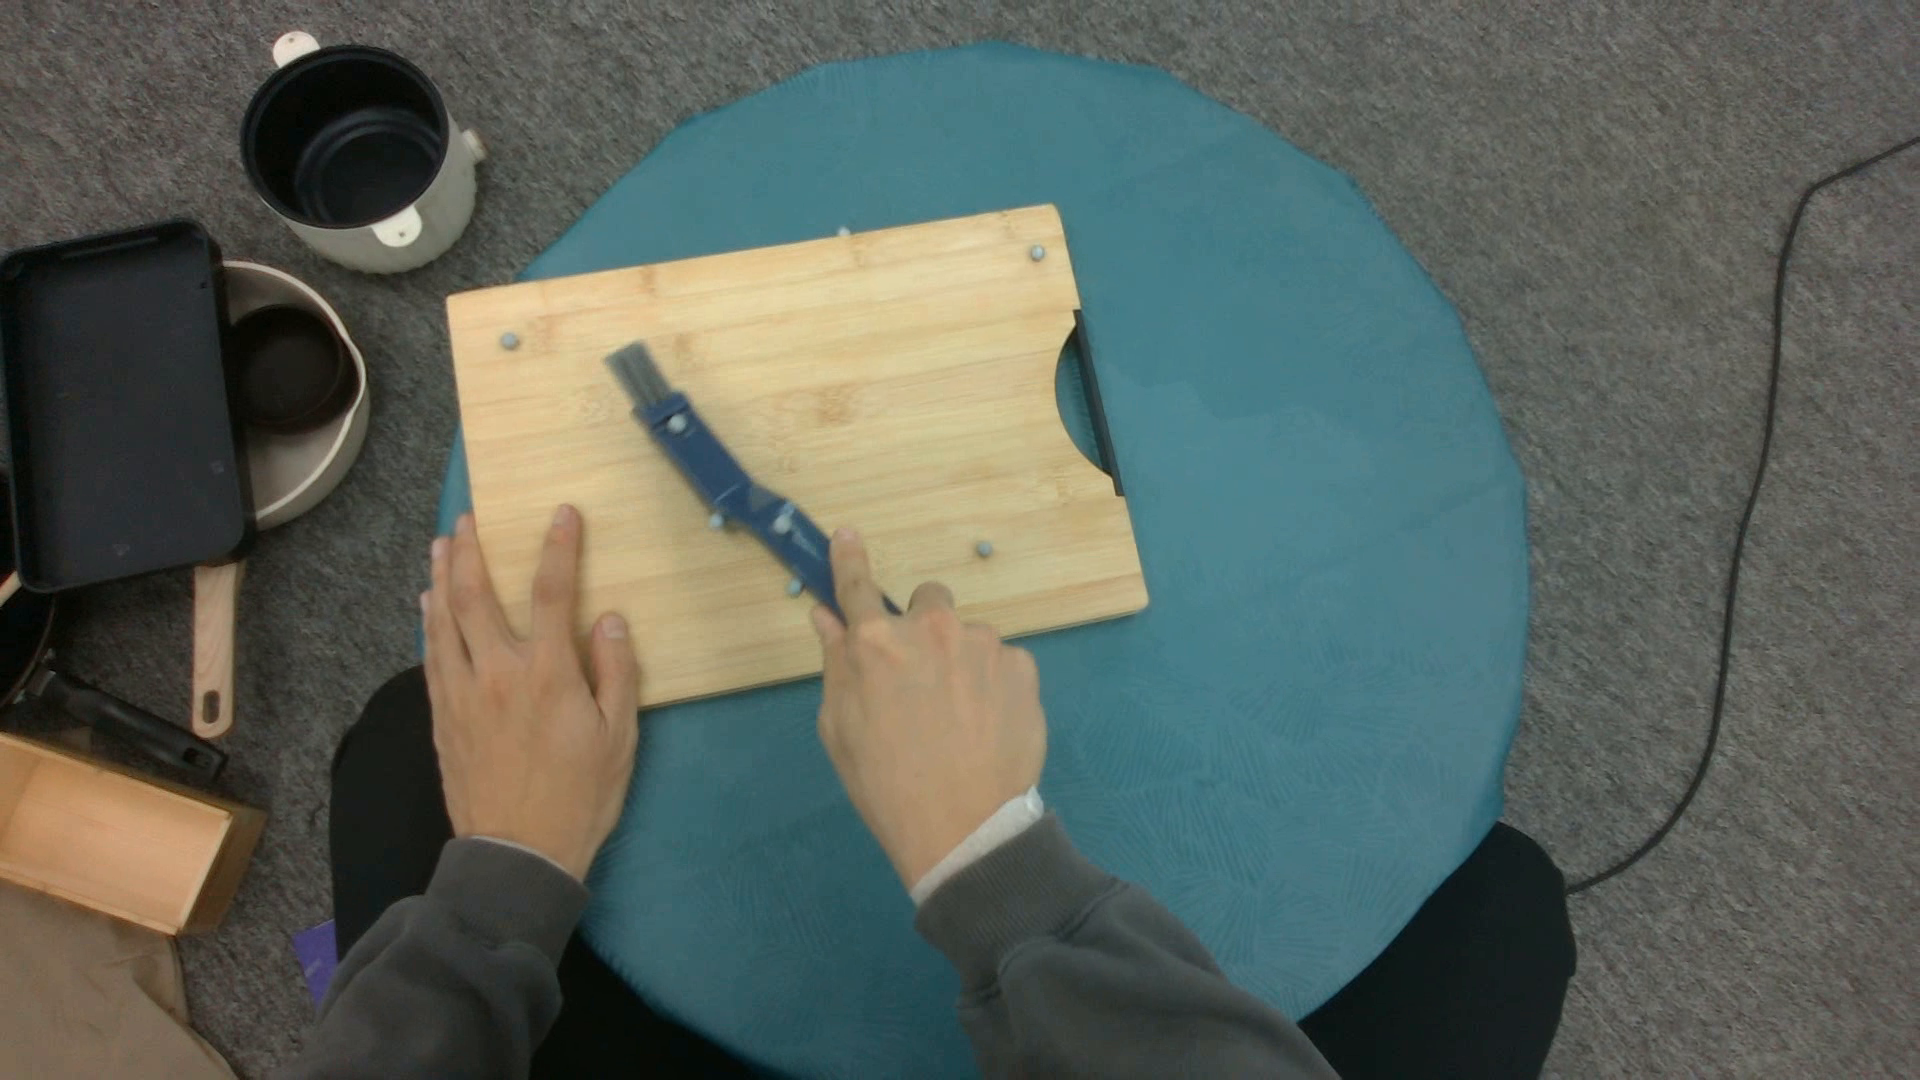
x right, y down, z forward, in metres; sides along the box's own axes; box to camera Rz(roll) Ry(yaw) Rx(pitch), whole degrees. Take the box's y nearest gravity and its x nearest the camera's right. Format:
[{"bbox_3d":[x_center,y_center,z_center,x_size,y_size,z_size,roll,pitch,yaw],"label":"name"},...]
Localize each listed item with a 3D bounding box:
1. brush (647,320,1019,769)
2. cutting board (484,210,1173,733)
[{"bbox_3d":[-0.070,-0.003,0.661,0.033,0.095,0.273,-31,53,-25],"label":"brush"},{"bbox_3d":[-0.078,-0.044,0.763,0.349,0.023,0.251,-11,78,-6],"label":"cutting board"}]
